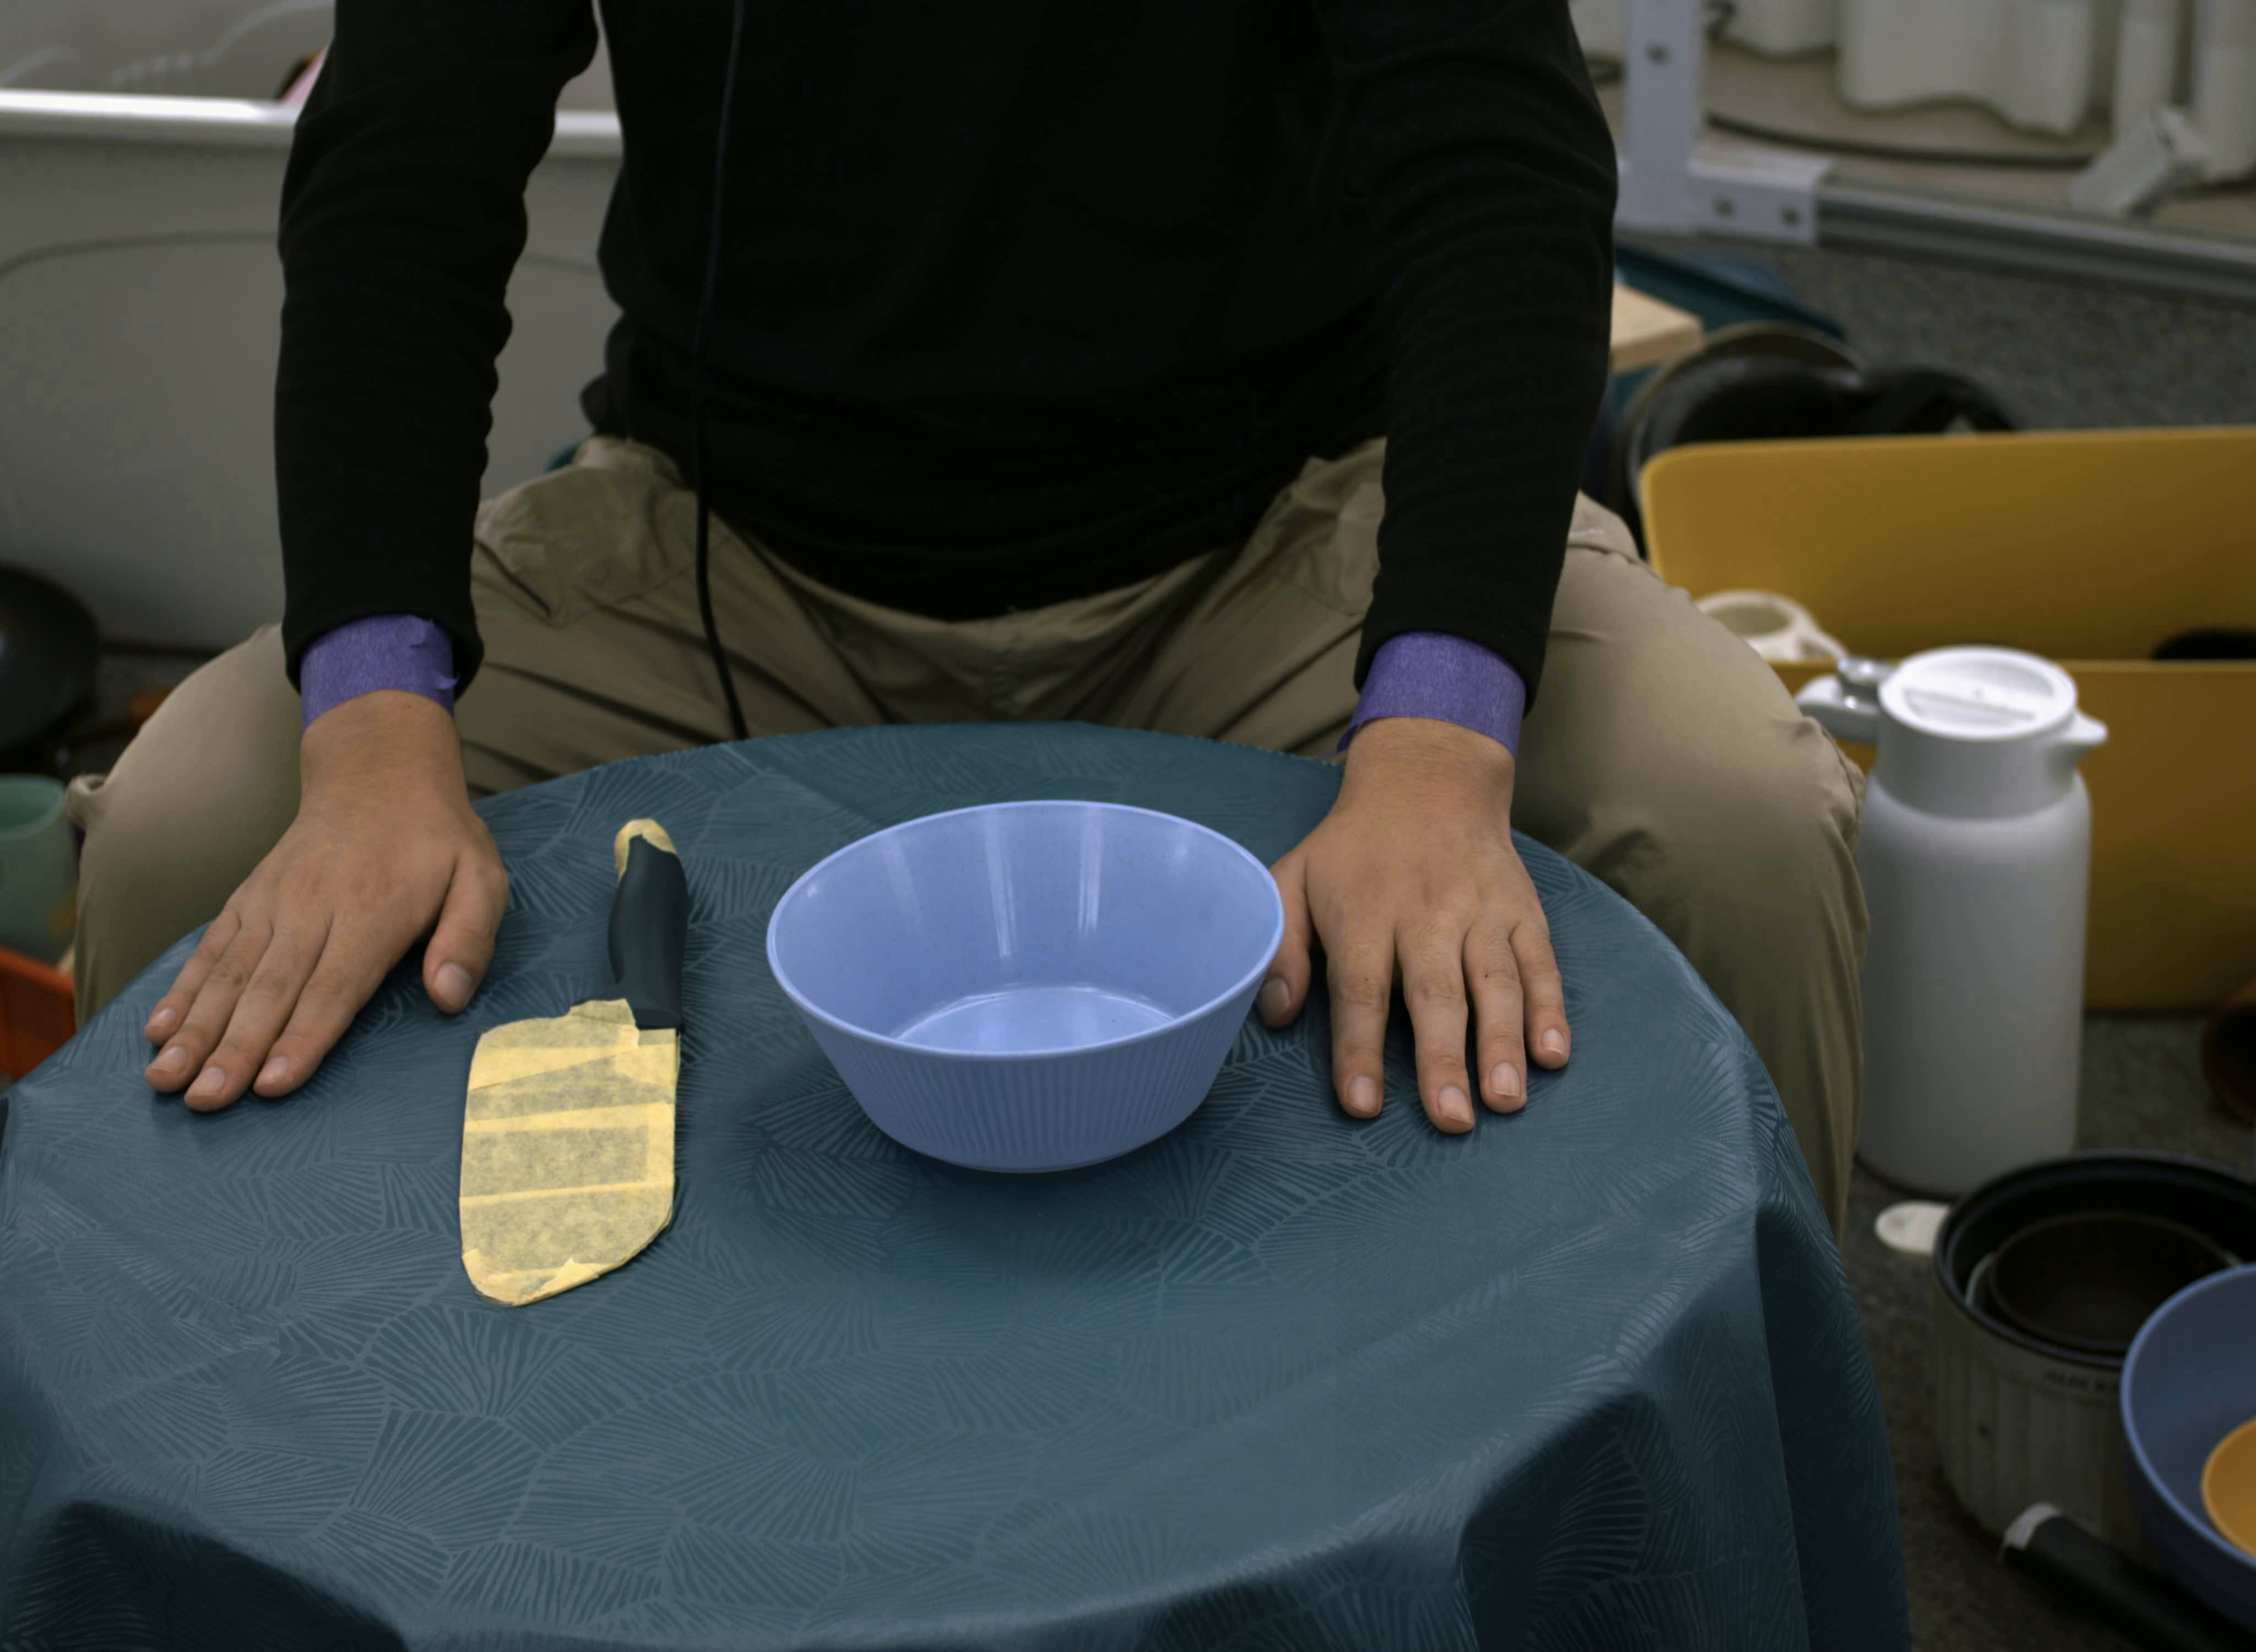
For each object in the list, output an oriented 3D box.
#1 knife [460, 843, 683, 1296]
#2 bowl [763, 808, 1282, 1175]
[{"bbox_3d":[-0.189,0.083,1.938,0.080,0.027,0.294,-1,28,1],"label":"knife"},{"bbox_3d":[-0.034,0.062,1.904,0.175,0.069,0.179,-3,27,2],"label":"bowl"}]
